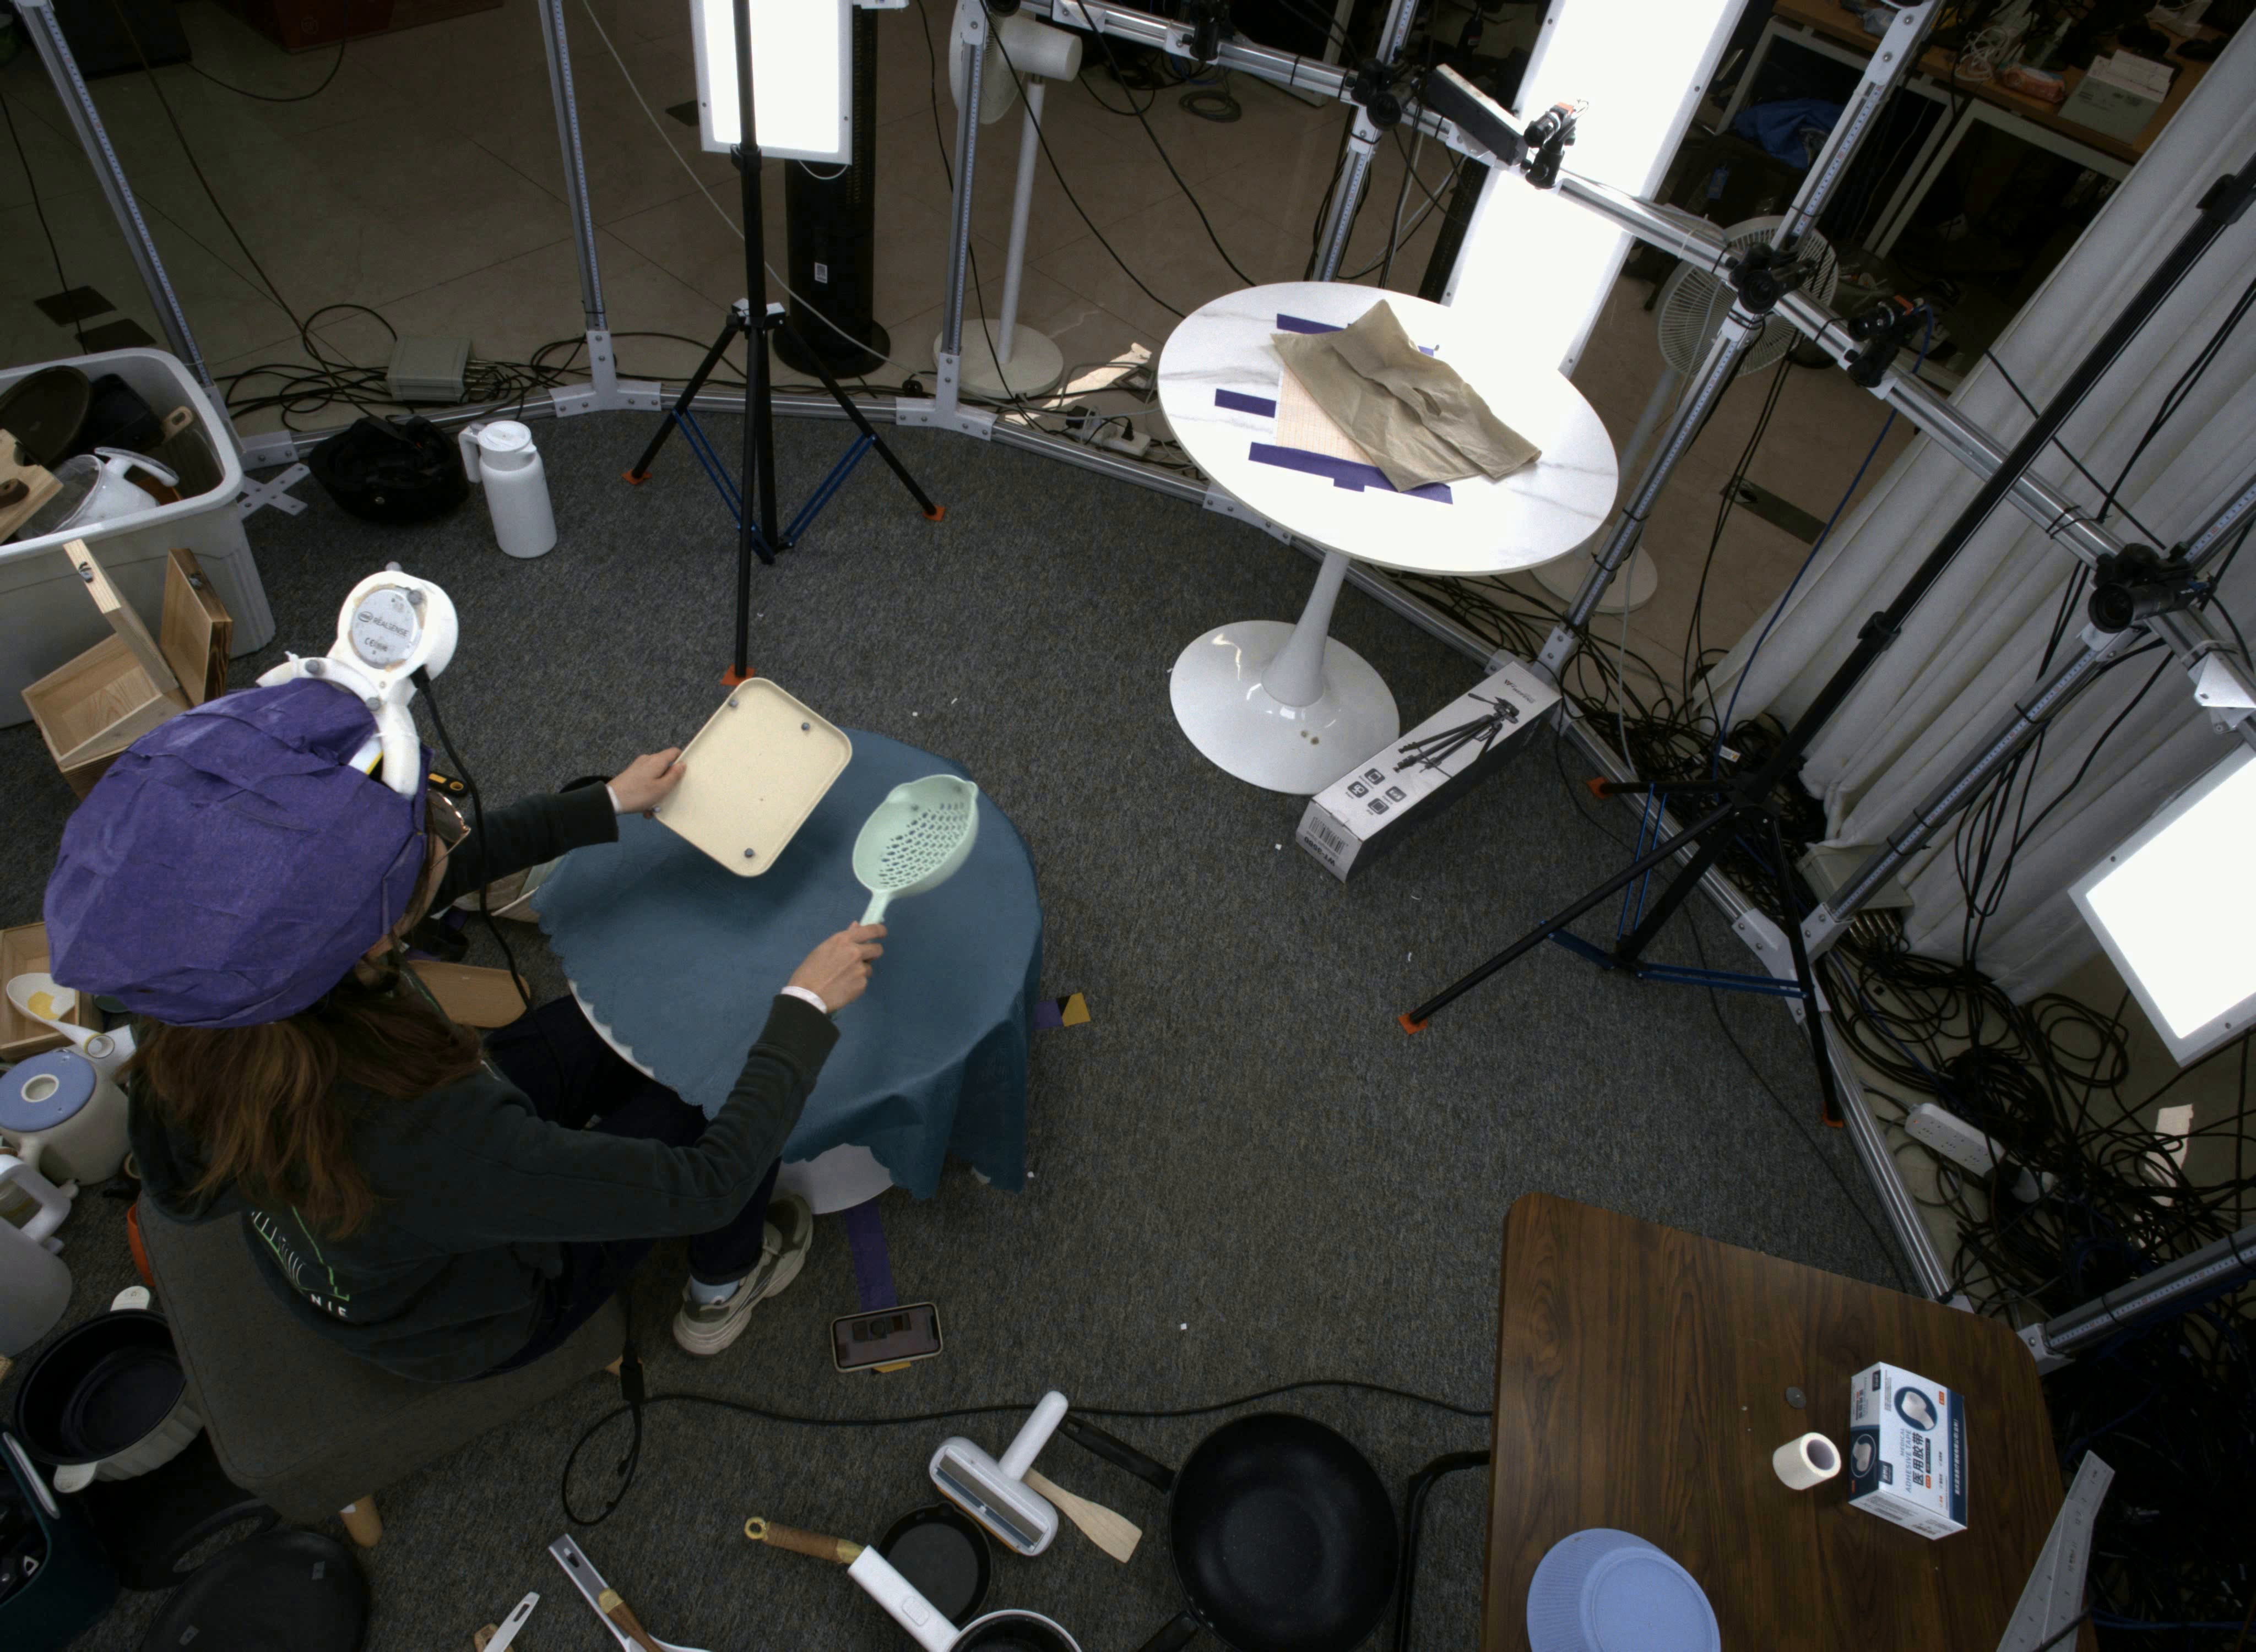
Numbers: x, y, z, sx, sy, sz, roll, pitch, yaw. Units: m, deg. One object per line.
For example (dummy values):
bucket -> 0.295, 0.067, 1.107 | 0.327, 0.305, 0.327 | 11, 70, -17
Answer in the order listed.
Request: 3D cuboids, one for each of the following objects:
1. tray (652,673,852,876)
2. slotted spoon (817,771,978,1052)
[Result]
tray -> -0.471, -0.066, 1.626 | 0.173, 0.017, 0.239 | 36, 62, -11
slotted spoon -> -0.281, 0.089, 1.499 | 0.164, 0.078, 0.356 | 0, 47, 34
